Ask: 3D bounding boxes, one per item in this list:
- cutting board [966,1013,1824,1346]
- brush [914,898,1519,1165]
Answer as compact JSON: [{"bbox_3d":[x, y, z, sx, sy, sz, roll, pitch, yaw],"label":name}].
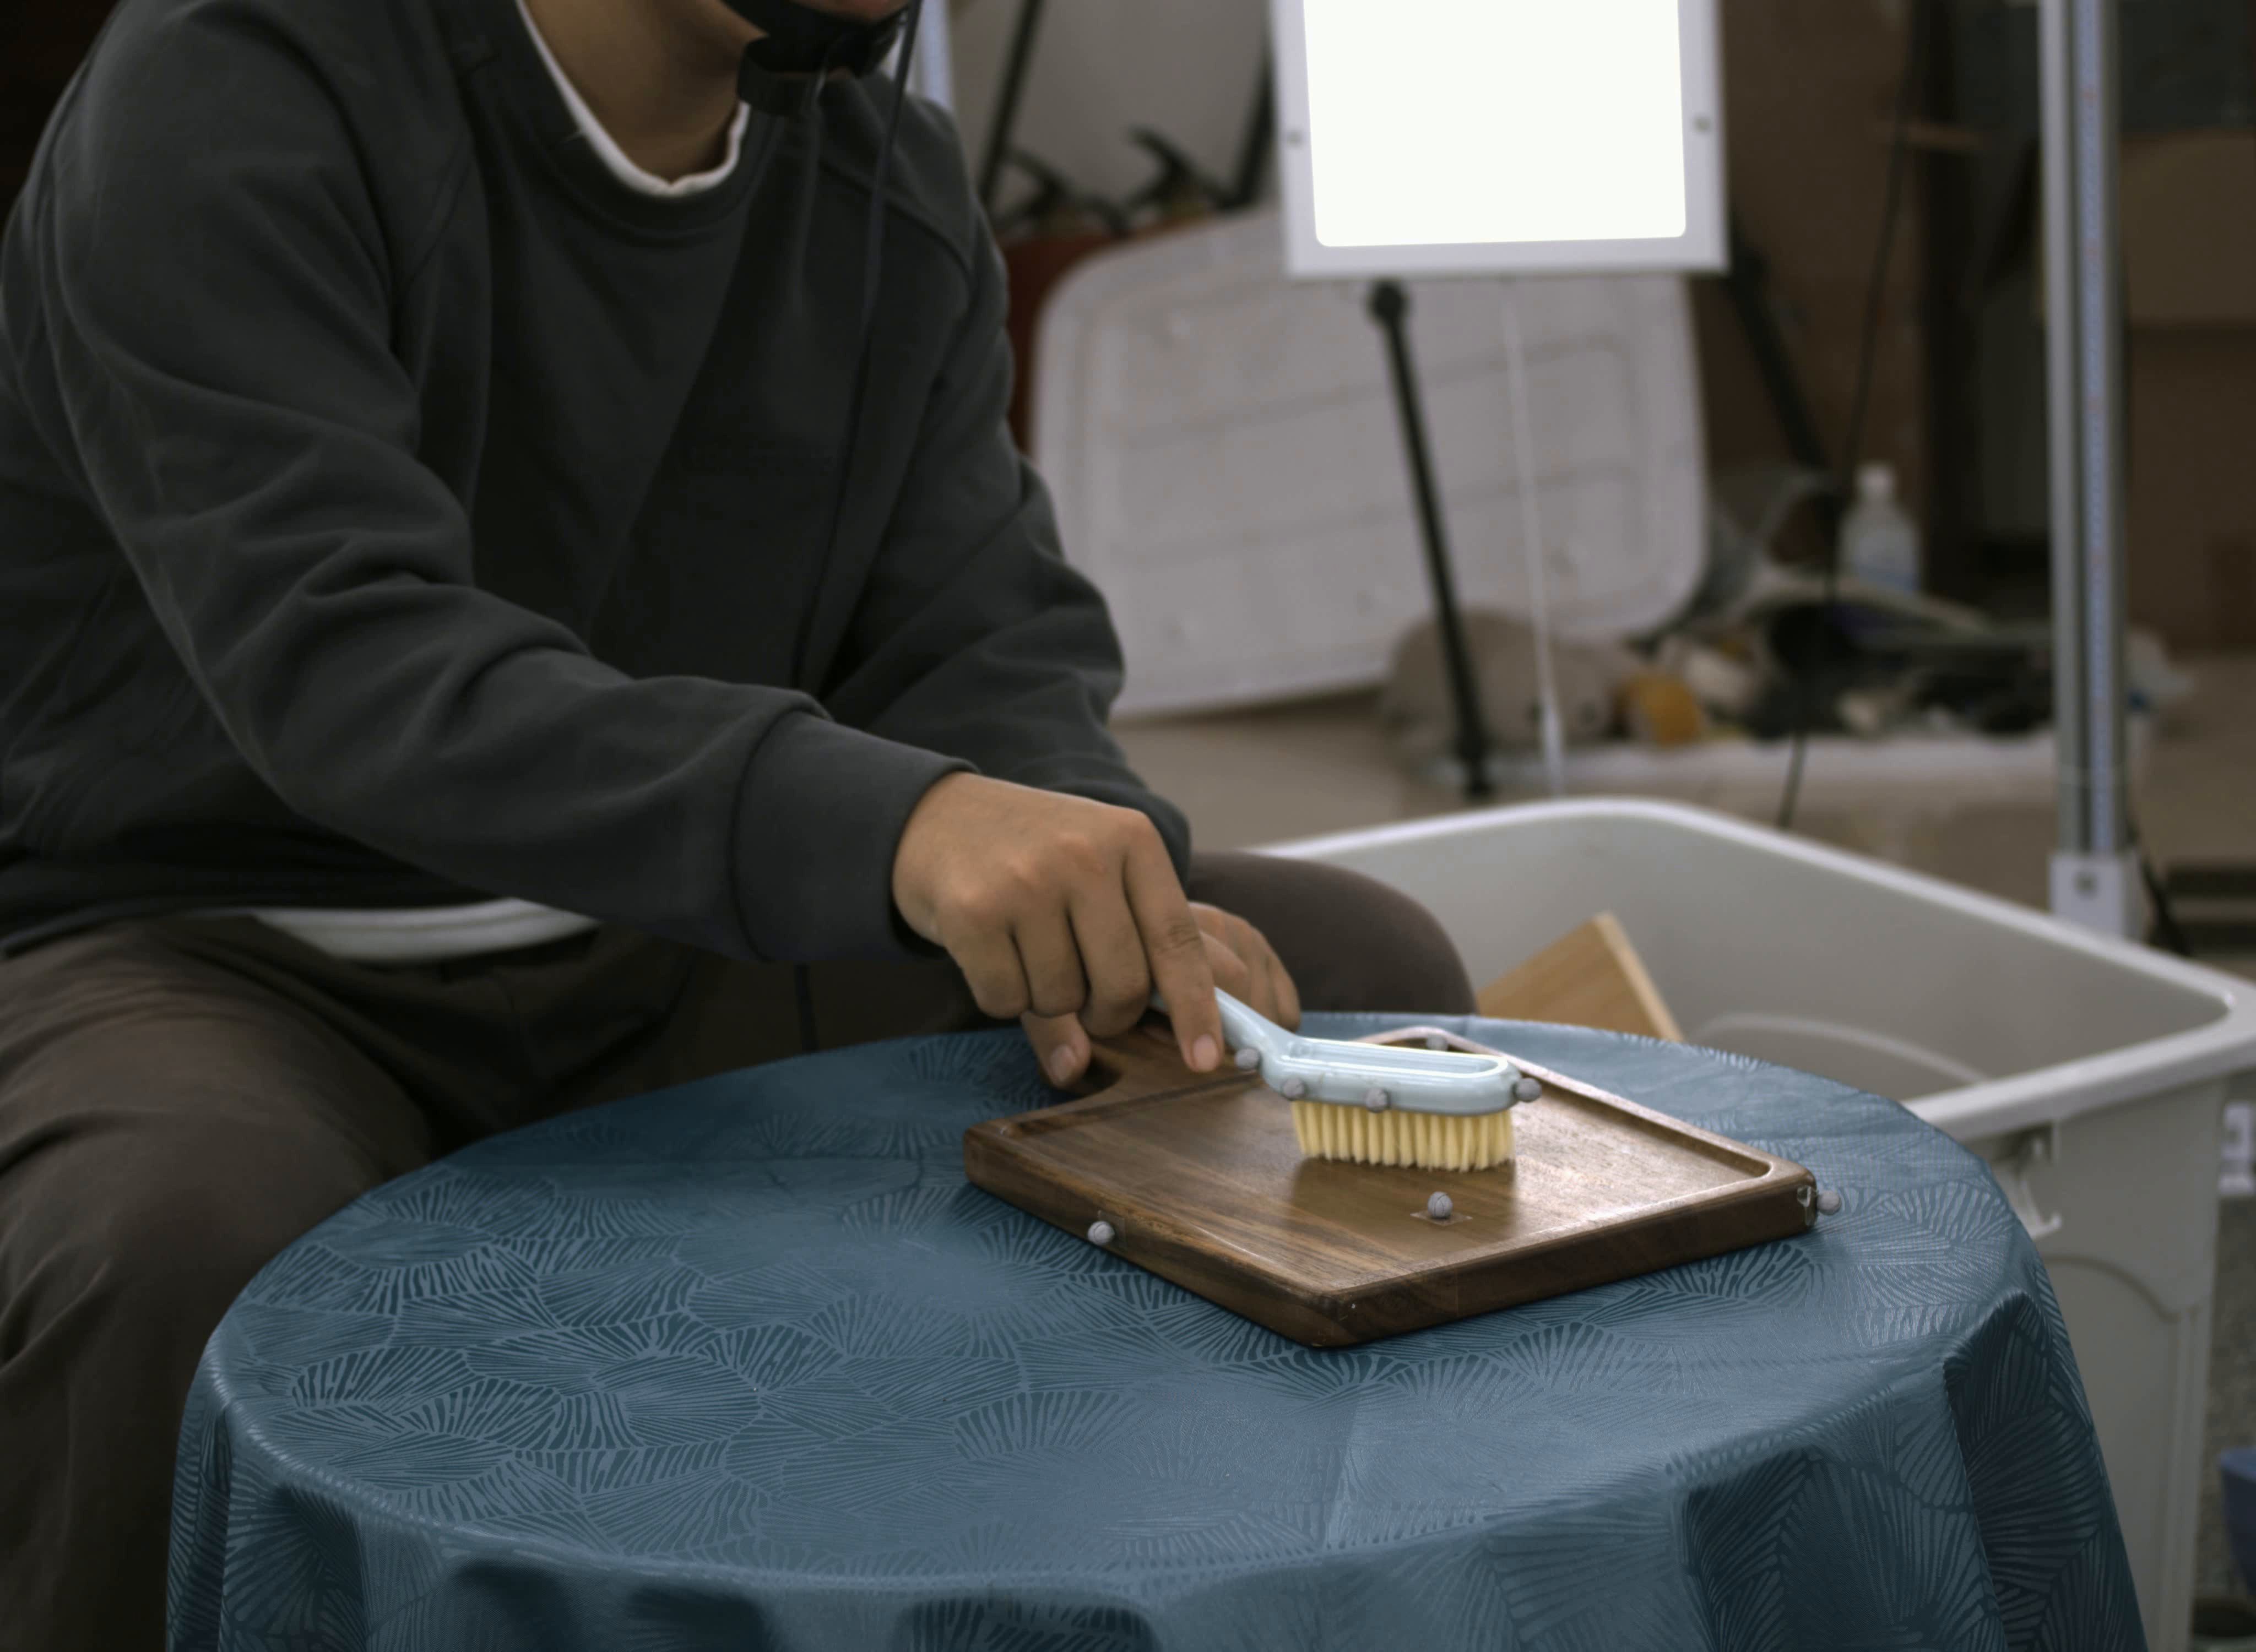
[{"bbox_3d":[0.063,0.109,1.904,0.197,0.023,0.358,-11,15,-26],"label":"cutting board"},{"bbox_3d":[0.027,0.072,1.890,0.232,0.050,0.037,18,23,24],"label":"brush"}]
